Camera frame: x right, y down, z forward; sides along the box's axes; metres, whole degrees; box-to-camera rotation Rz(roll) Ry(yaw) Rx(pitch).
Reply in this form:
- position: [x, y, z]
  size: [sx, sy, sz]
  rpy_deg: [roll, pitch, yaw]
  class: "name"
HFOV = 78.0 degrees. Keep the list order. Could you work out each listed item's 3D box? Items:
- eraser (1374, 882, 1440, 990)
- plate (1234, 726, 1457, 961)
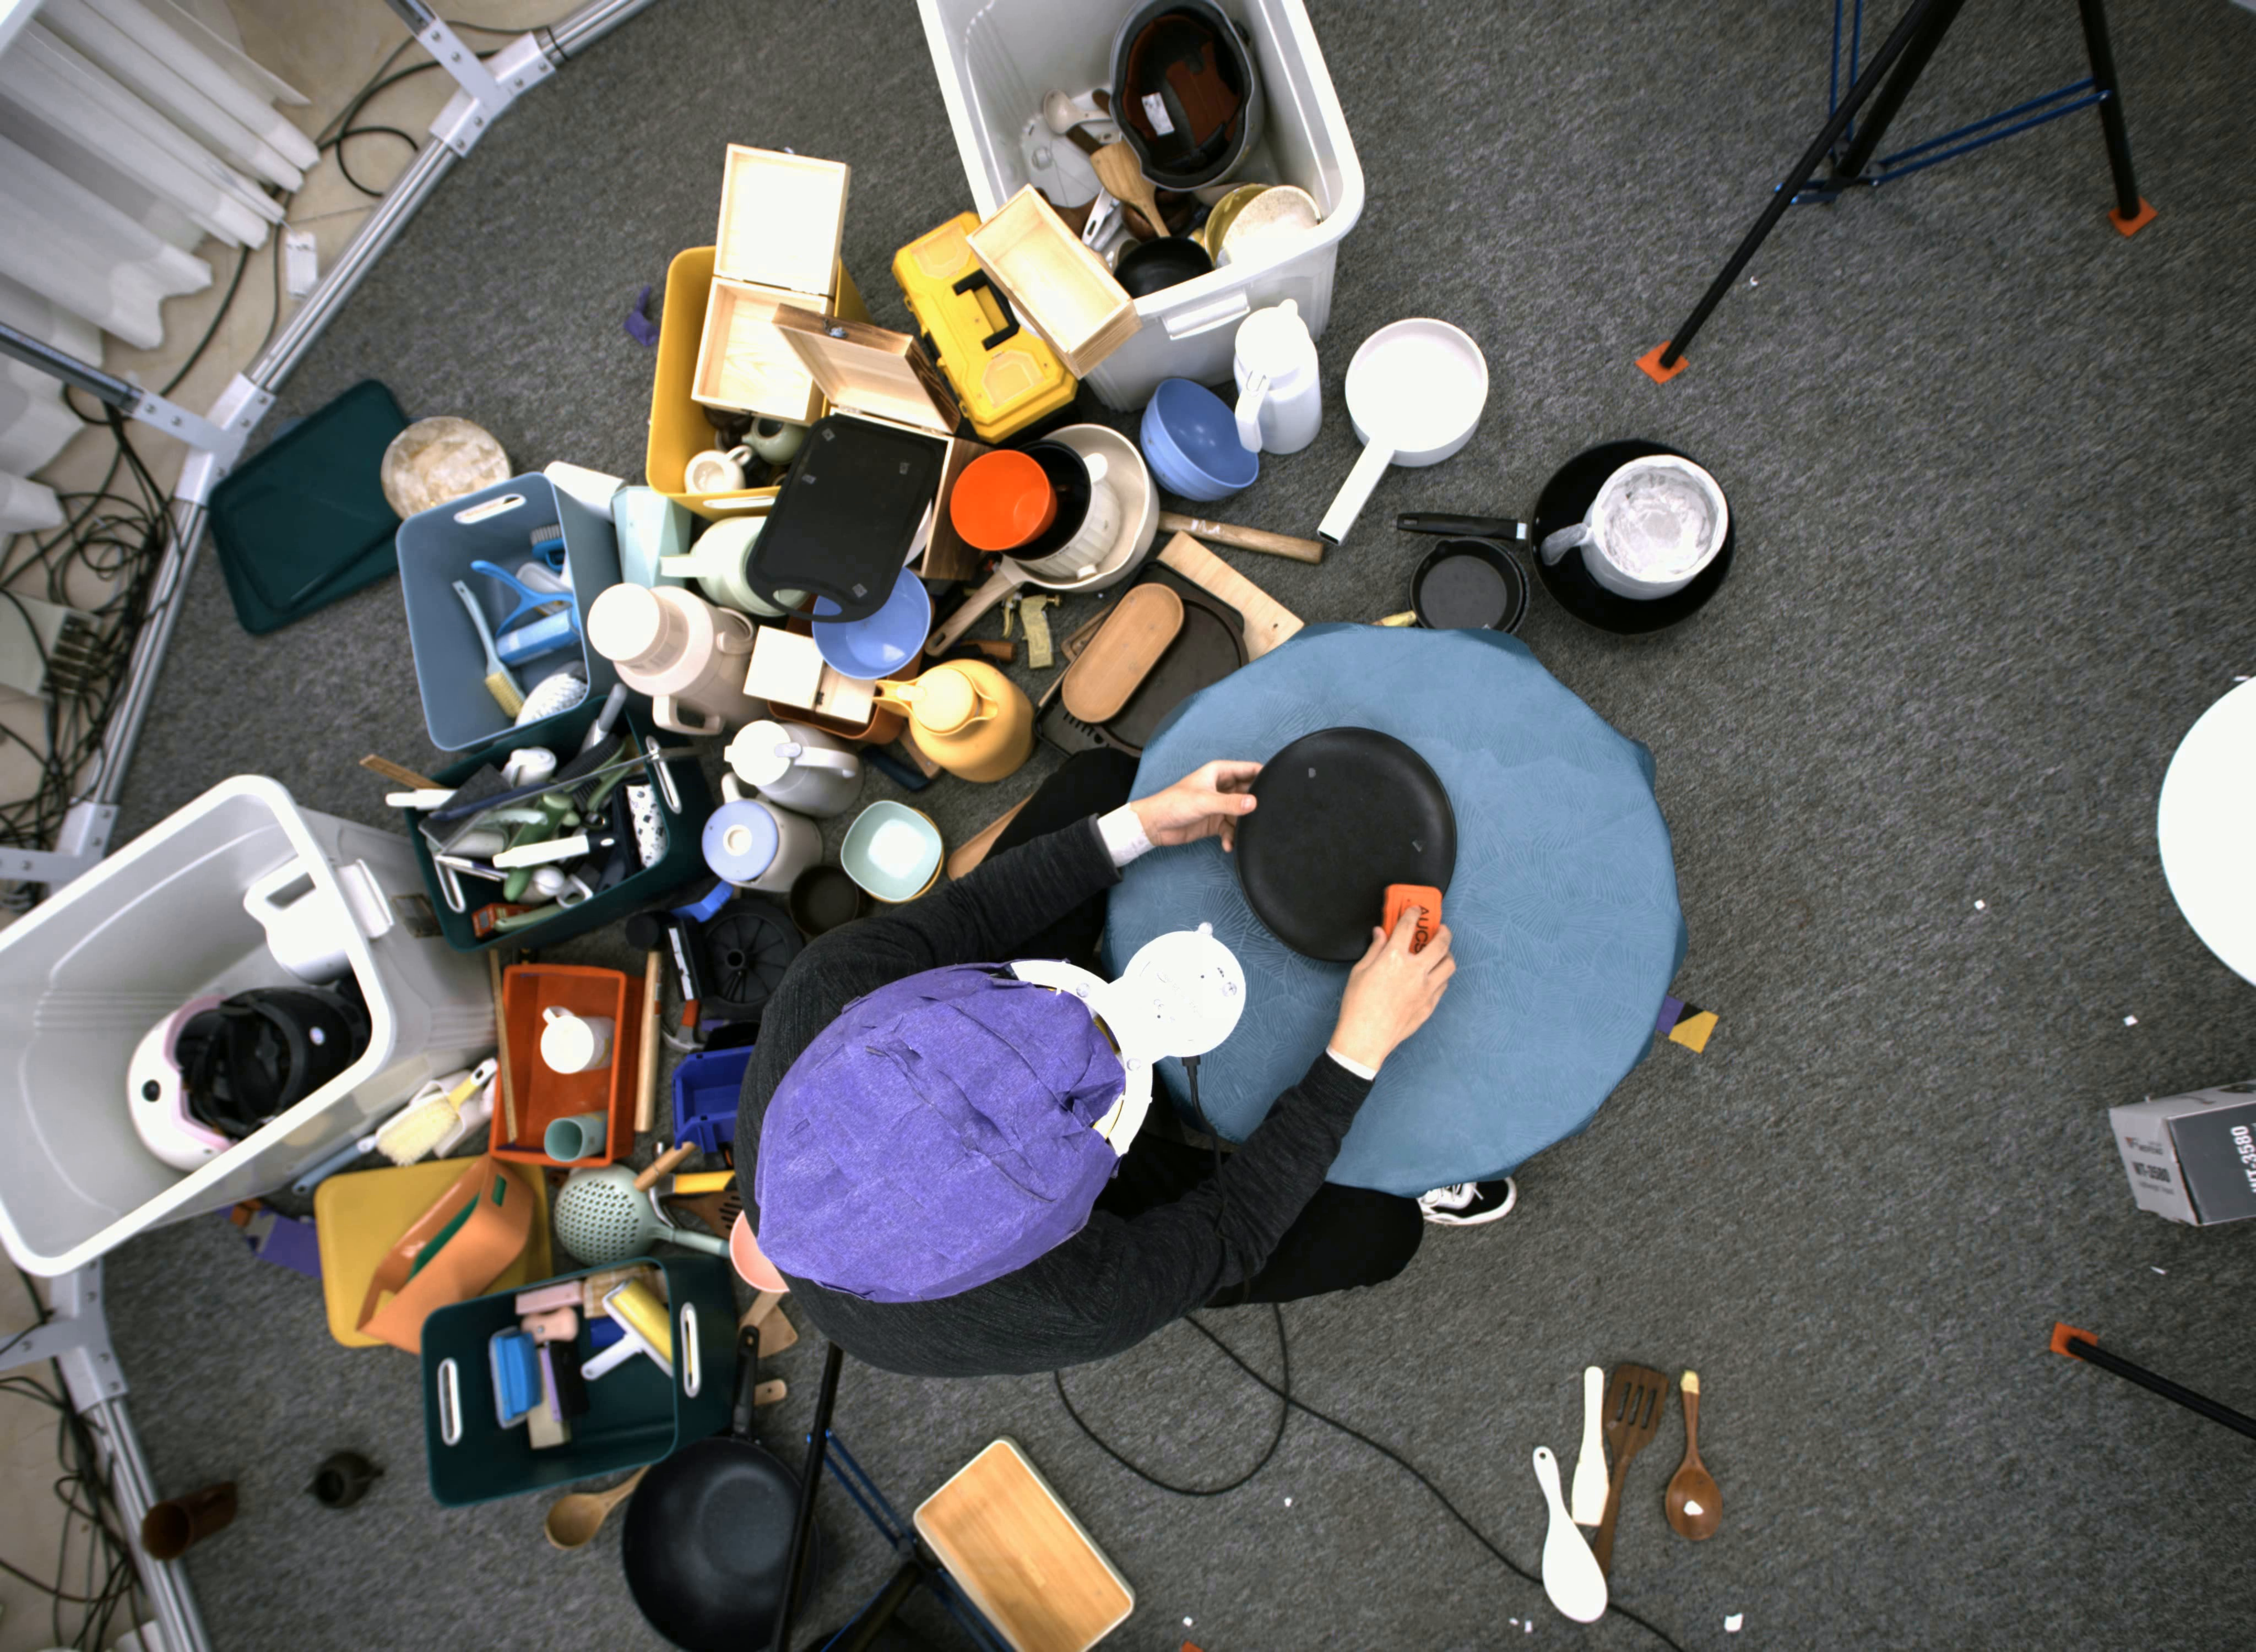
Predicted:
- position: [0.288, 0.113, 1.427]
  size: [0.059, 0.023, 0.107]
  rpy_deg: [6, 86, -2]
  class: "eraser"
- position: [0.224, 0.017, 1.425]
  size: [0.244, 0.023, 0.245]
  rpy_deg: [-1, 97, -11]
  class: "plate"
